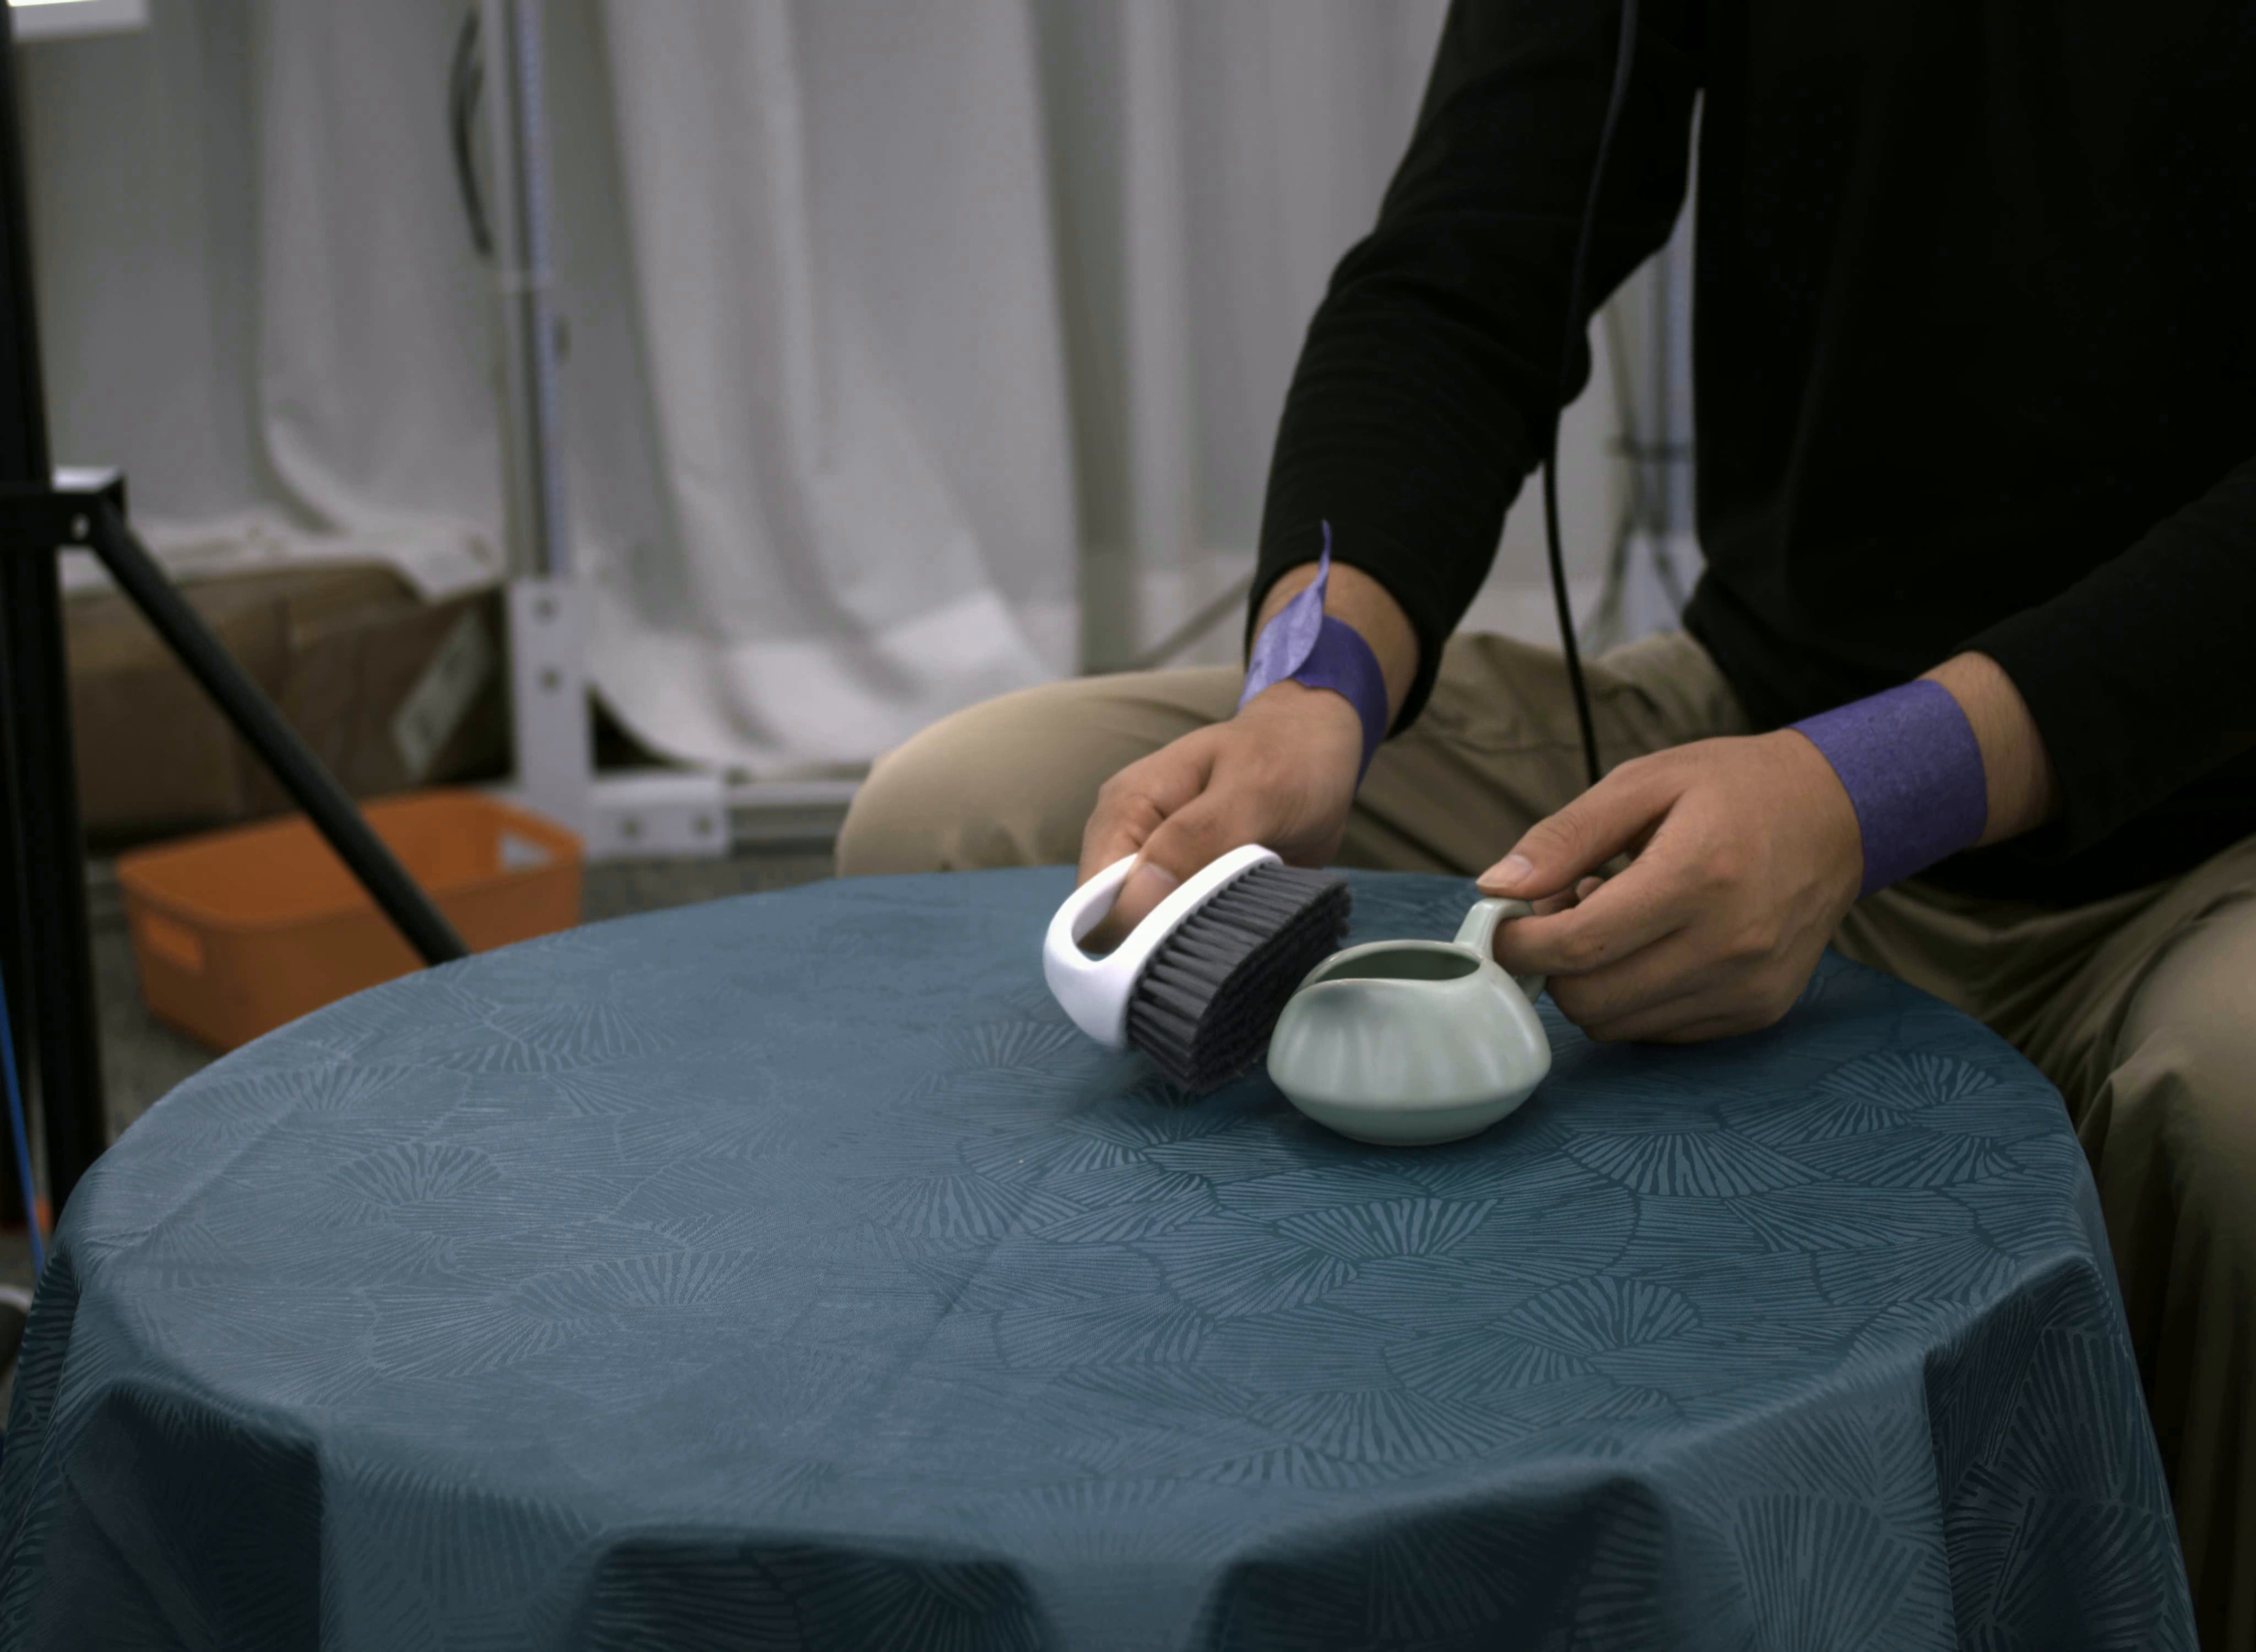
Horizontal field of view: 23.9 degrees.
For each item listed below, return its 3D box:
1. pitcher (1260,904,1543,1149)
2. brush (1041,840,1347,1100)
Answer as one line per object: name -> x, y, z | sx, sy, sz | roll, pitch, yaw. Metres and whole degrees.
pitcher -> 0.090, 0.061, 1.611 | 0.088, 0.060, 0.105 | 11, 18, 38
brush -> 0.015, 0.037, 1.667 | 0.074, 0.050, 0.098 | 25, 41, 24
